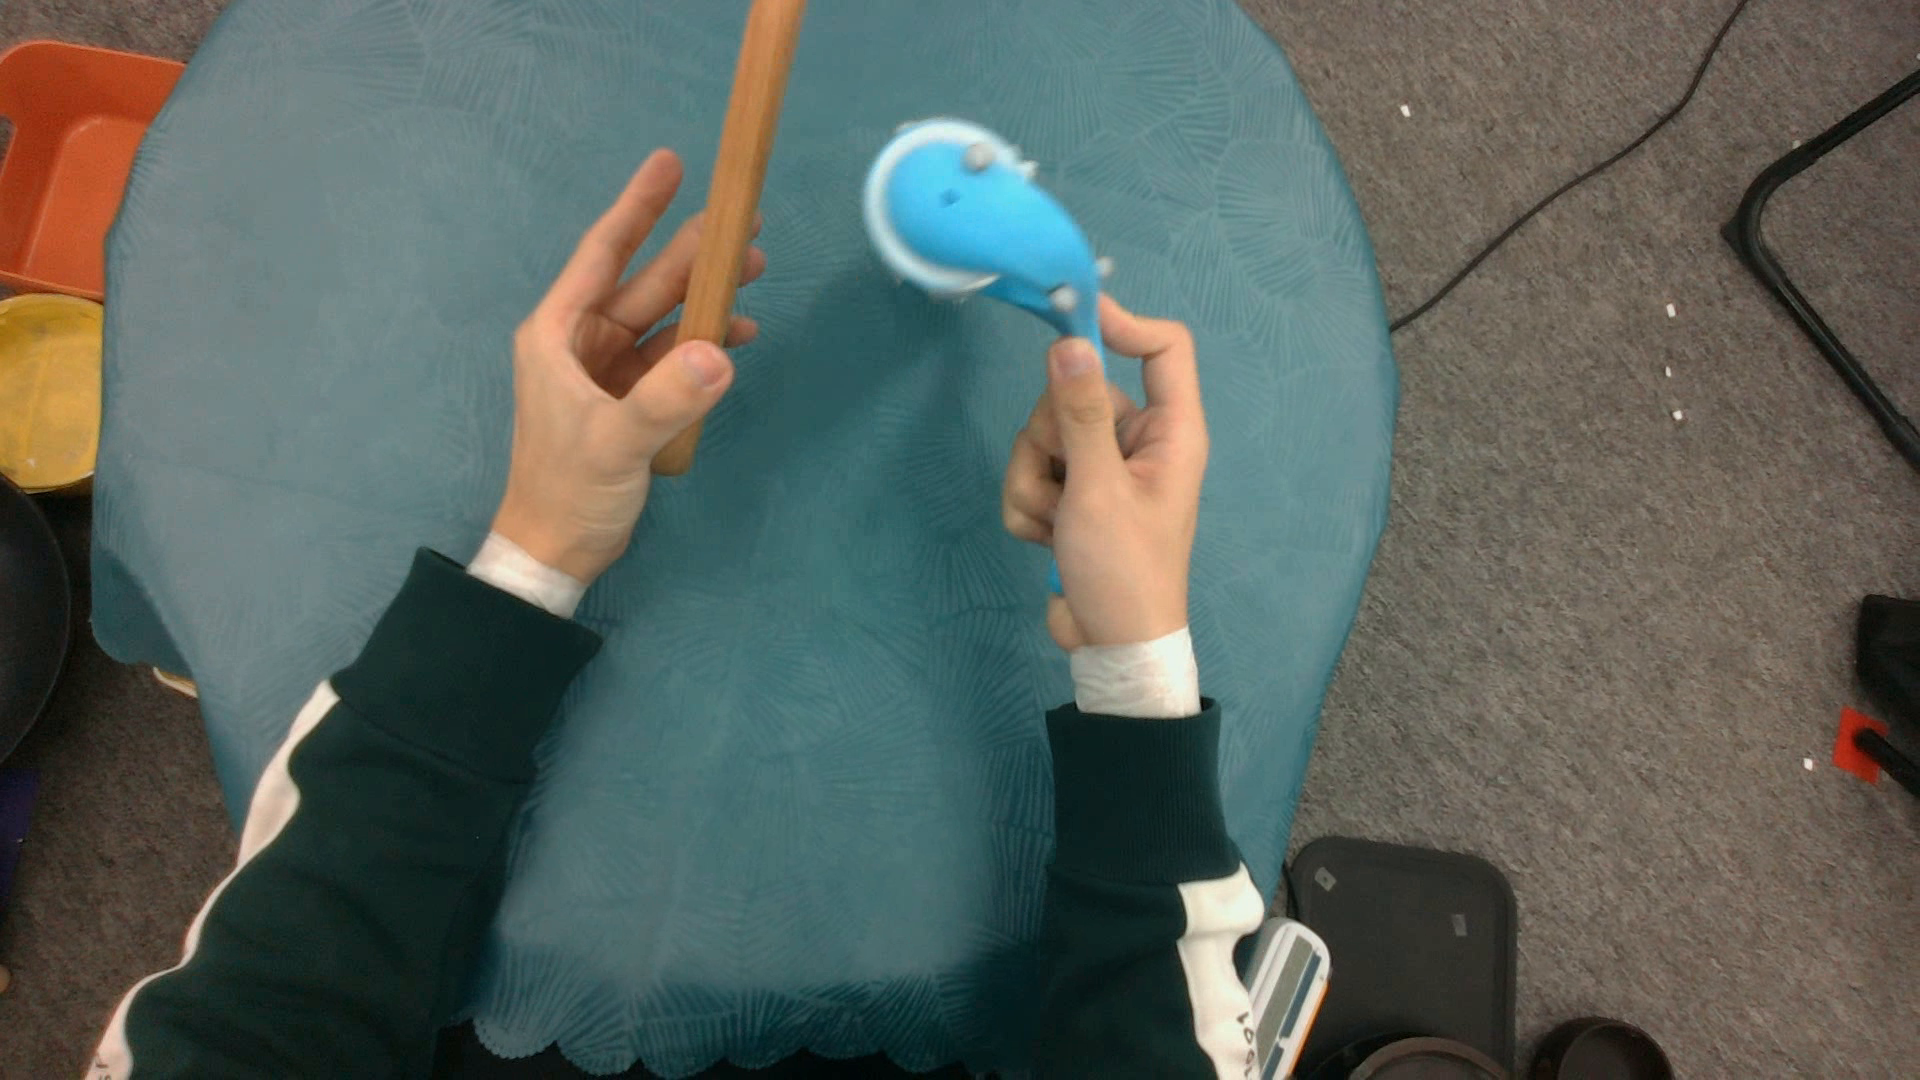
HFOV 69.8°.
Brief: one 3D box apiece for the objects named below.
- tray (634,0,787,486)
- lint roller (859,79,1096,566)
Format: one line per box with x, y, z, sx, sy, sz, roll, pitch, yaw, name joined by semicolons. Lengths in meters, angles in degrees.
-0.090;-0.124;0.507;0.020;0.102;0.230;12;119;-12;tray
0.018;-0.082;0.538;0.068;0.229;0.180;-27;104;-2;lint roller
